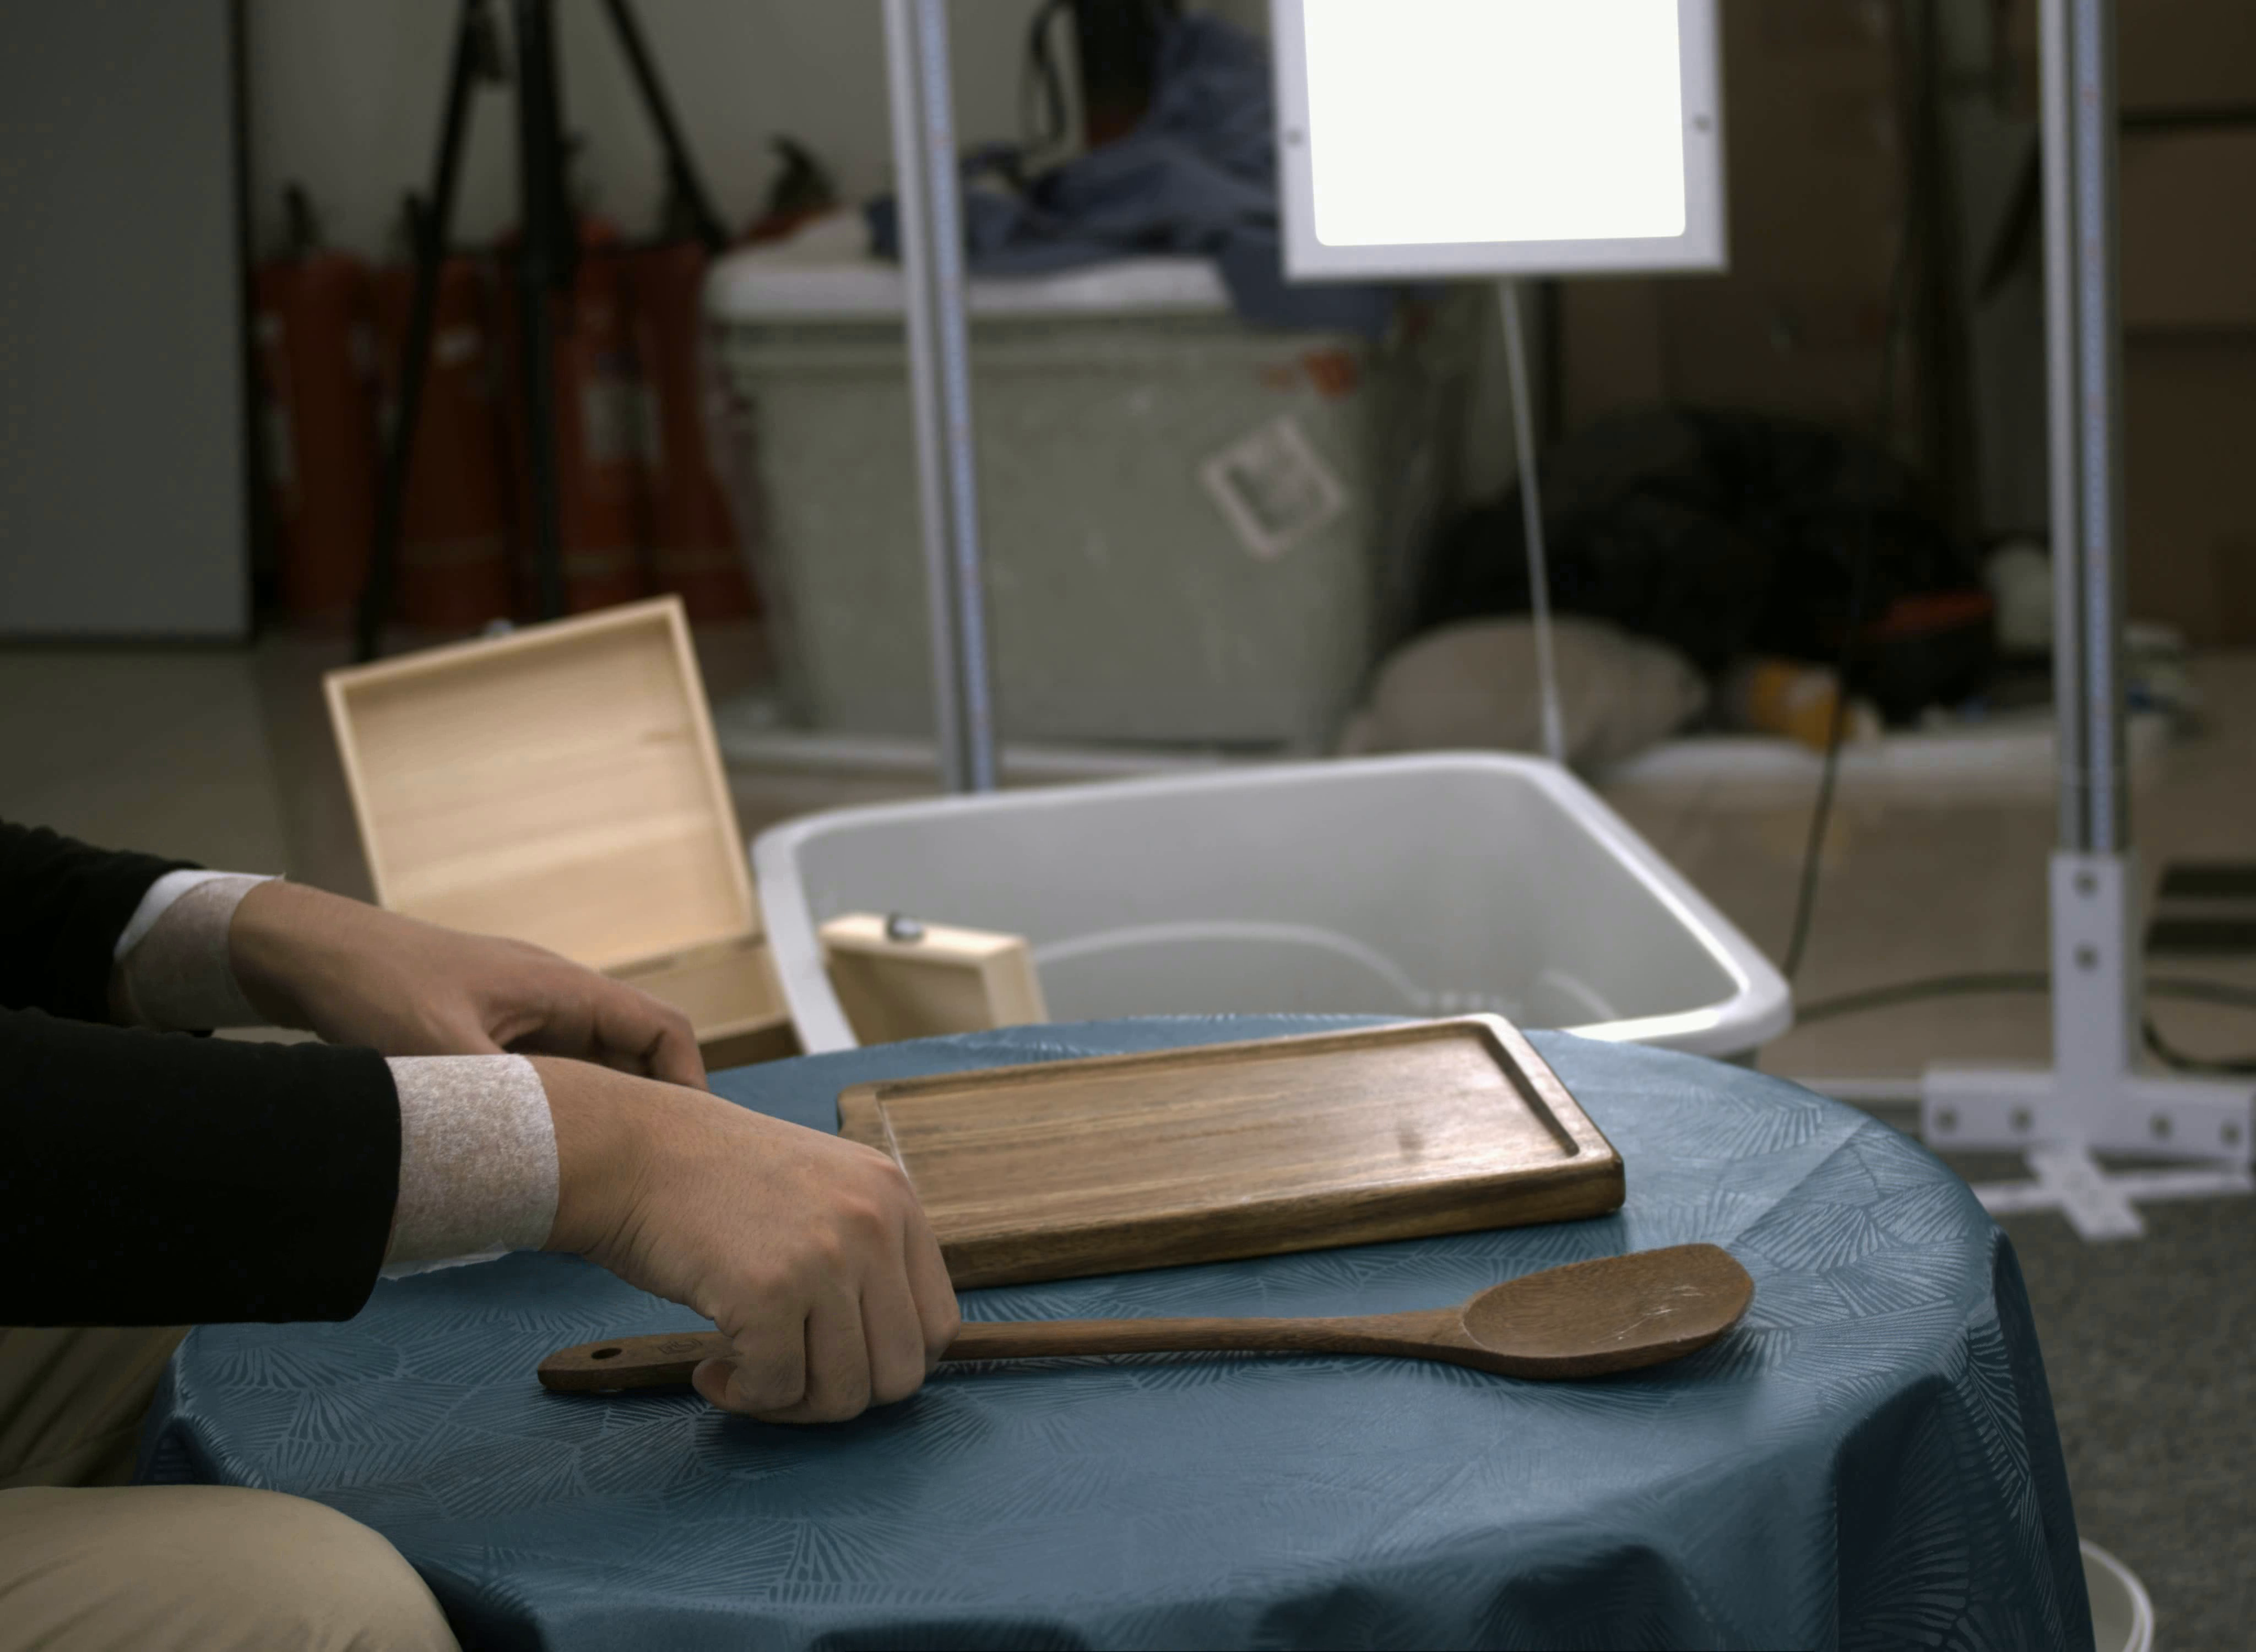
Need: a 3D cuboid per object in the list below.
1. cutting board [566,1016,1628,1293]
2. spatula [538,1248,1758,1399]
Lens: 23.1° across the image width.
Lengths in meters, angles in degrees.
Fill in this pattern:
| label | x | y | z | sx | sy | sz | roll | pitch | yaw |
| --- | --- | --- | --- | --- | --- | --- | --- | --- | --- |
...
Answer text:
| label | x | y | z | sx | sy | sz | roll | pitch | yaw |
| --- | --- | --- | --- | --- | --- | --- | --- | --- | --- |
| cutting board | -0.019 | 0.116 | 1.903 | 0.350 | 0.023 | 0.202 | -6 | 13 | -5 |
| spatula | 0.005 | 0.160 | 1.726 | 0.387 | 0.016 | 0.095 | -3 | 14 | 7 |
